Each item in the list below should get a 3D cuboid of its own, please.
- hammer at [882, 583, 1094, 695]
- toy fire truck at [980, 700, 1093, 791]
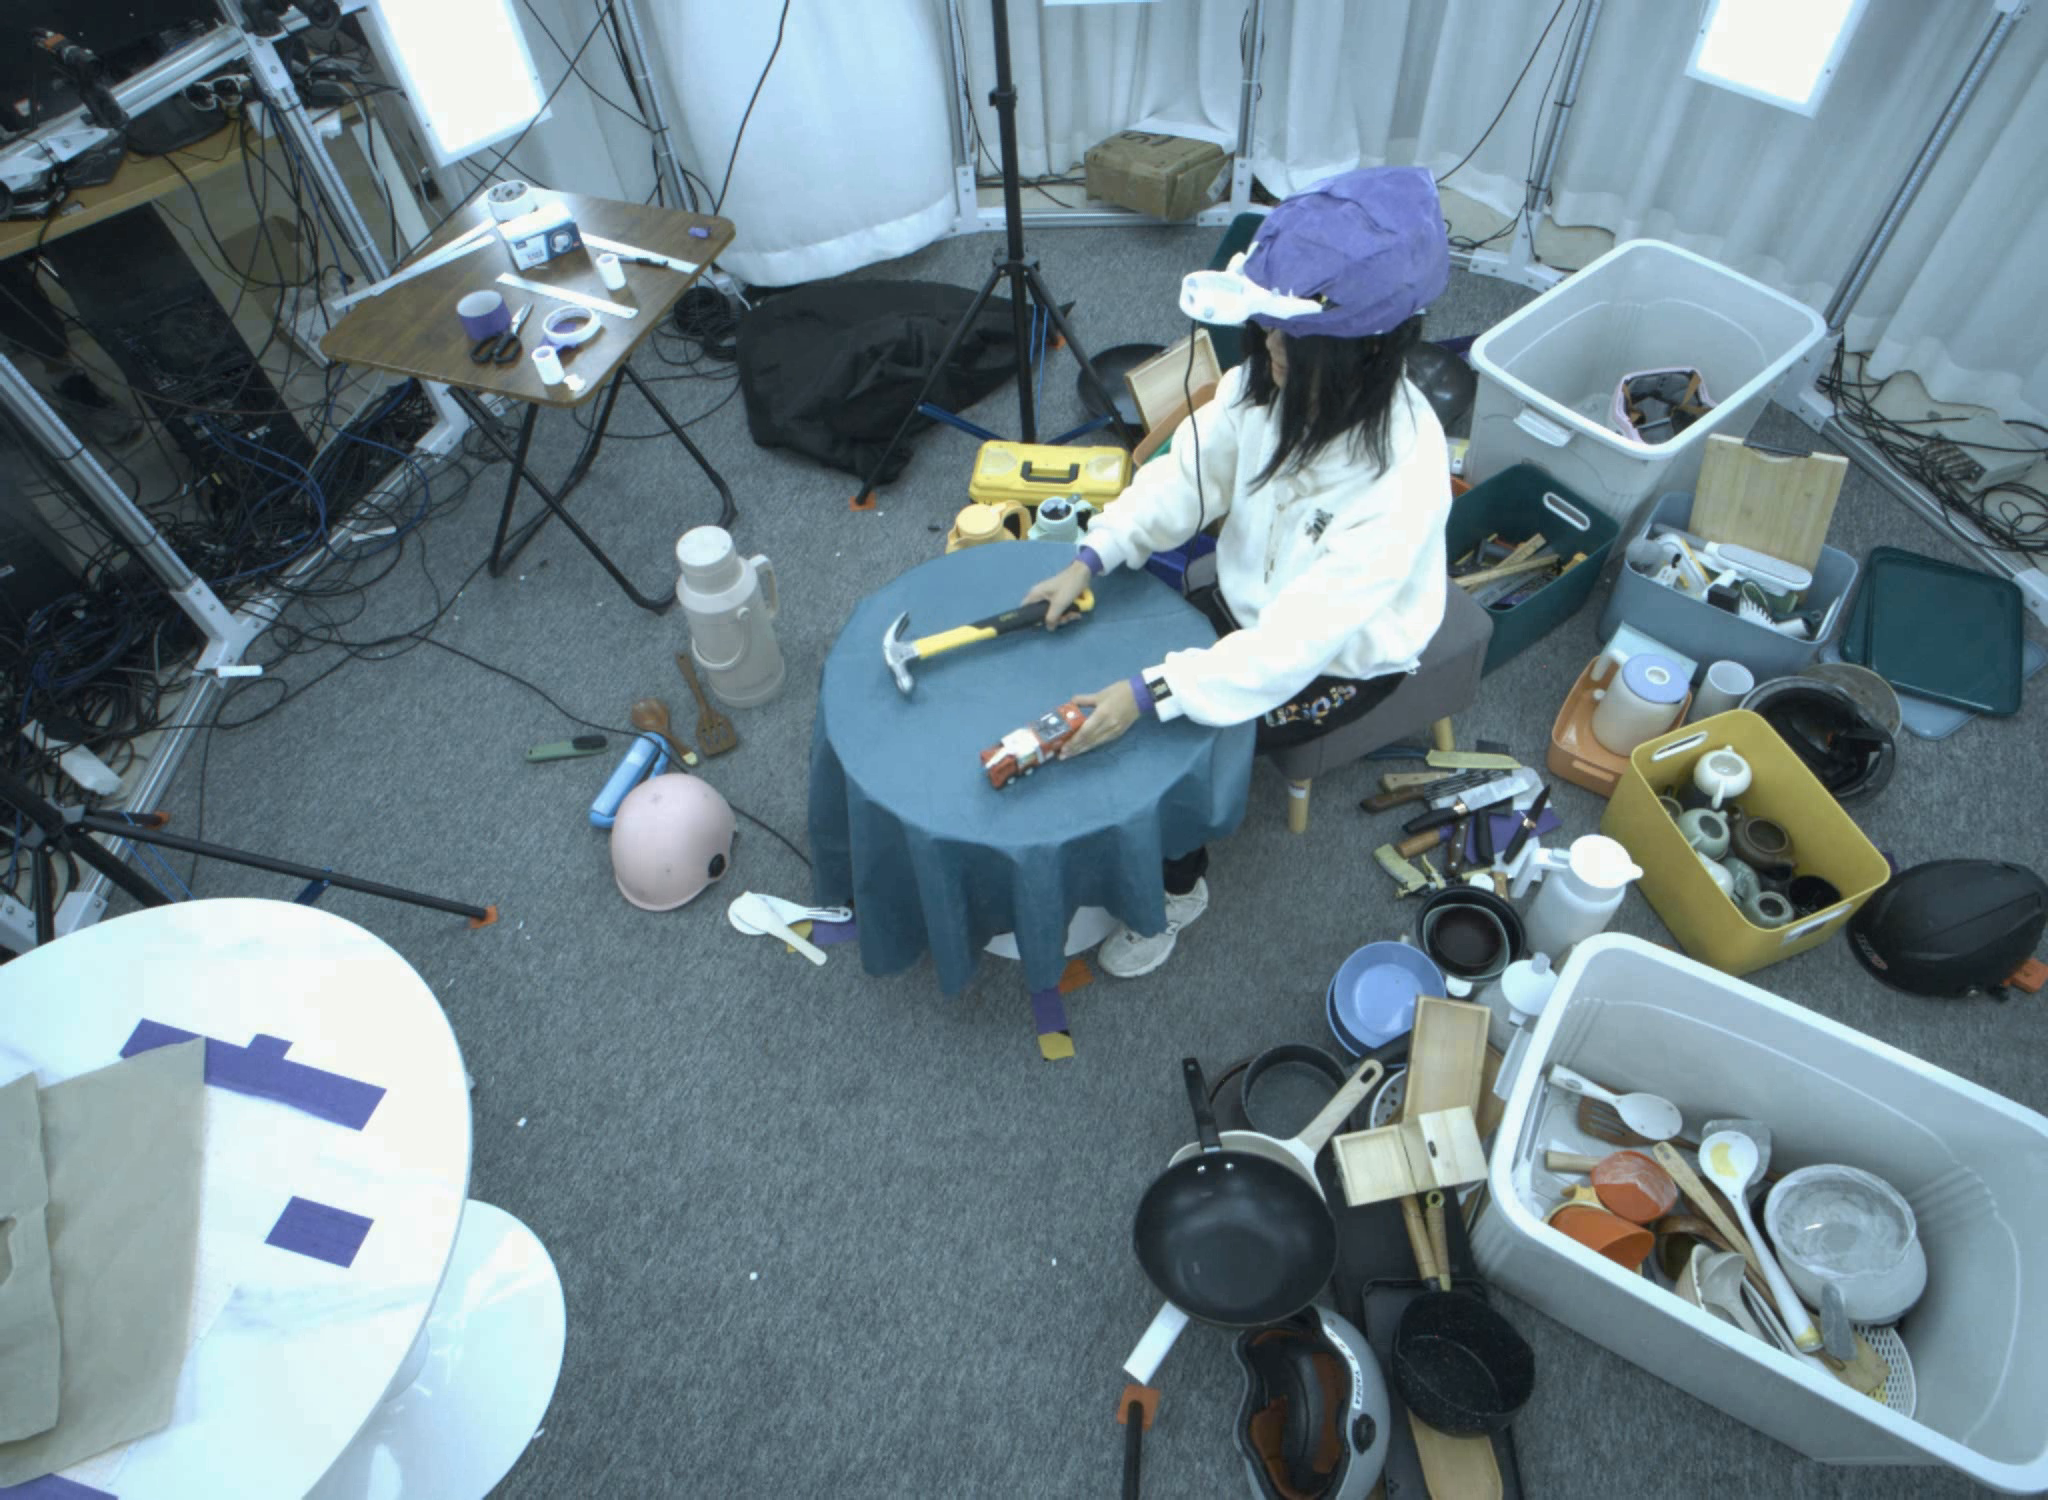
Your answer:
[{"bbox_3d":[-0.053,-0.191,1.883,0.340,0.032,0.129,-19,62,-10],"label":"hammer"},{"bbox_3d":[0.016,-0.006,1.749,0.169,0.071,0.053,-30,60,-12],"label":"toy fire truck"}]
